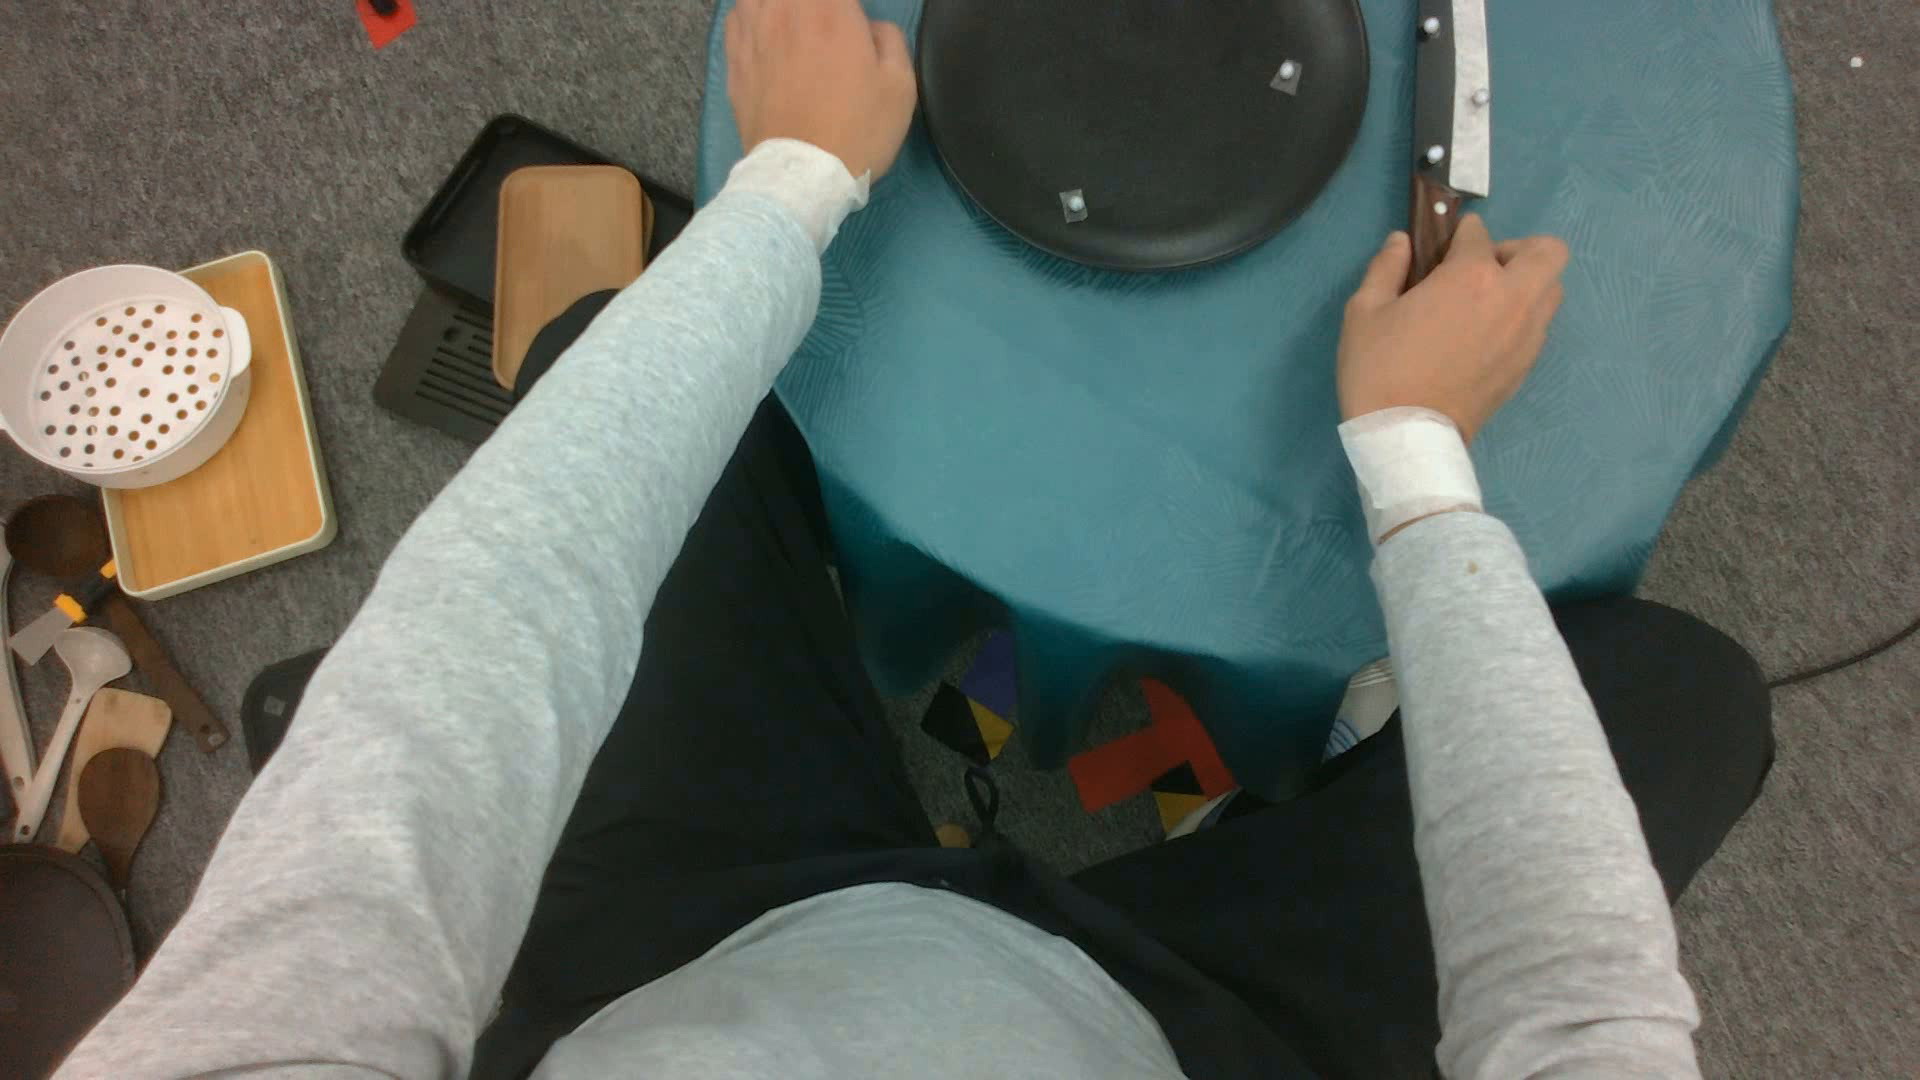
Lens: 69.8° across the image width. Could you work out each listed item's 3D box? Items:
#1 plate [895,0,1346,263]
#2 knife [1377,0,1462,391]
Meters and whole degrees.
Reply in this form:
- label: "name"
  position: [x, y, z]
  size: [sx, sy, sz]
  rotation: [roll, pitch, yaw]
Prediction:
- label: "plate"
  position: [0.087, -0.262, 0.752]
  size: [0.244, 0.023, 0.245]
  rotation: [0, 79, 0]
- label: "knife"
  position: [0.248, -0.214, 0.742]
  size: [0.050, 0.020, 0.290]
  rotation: [11, 74, -11]
